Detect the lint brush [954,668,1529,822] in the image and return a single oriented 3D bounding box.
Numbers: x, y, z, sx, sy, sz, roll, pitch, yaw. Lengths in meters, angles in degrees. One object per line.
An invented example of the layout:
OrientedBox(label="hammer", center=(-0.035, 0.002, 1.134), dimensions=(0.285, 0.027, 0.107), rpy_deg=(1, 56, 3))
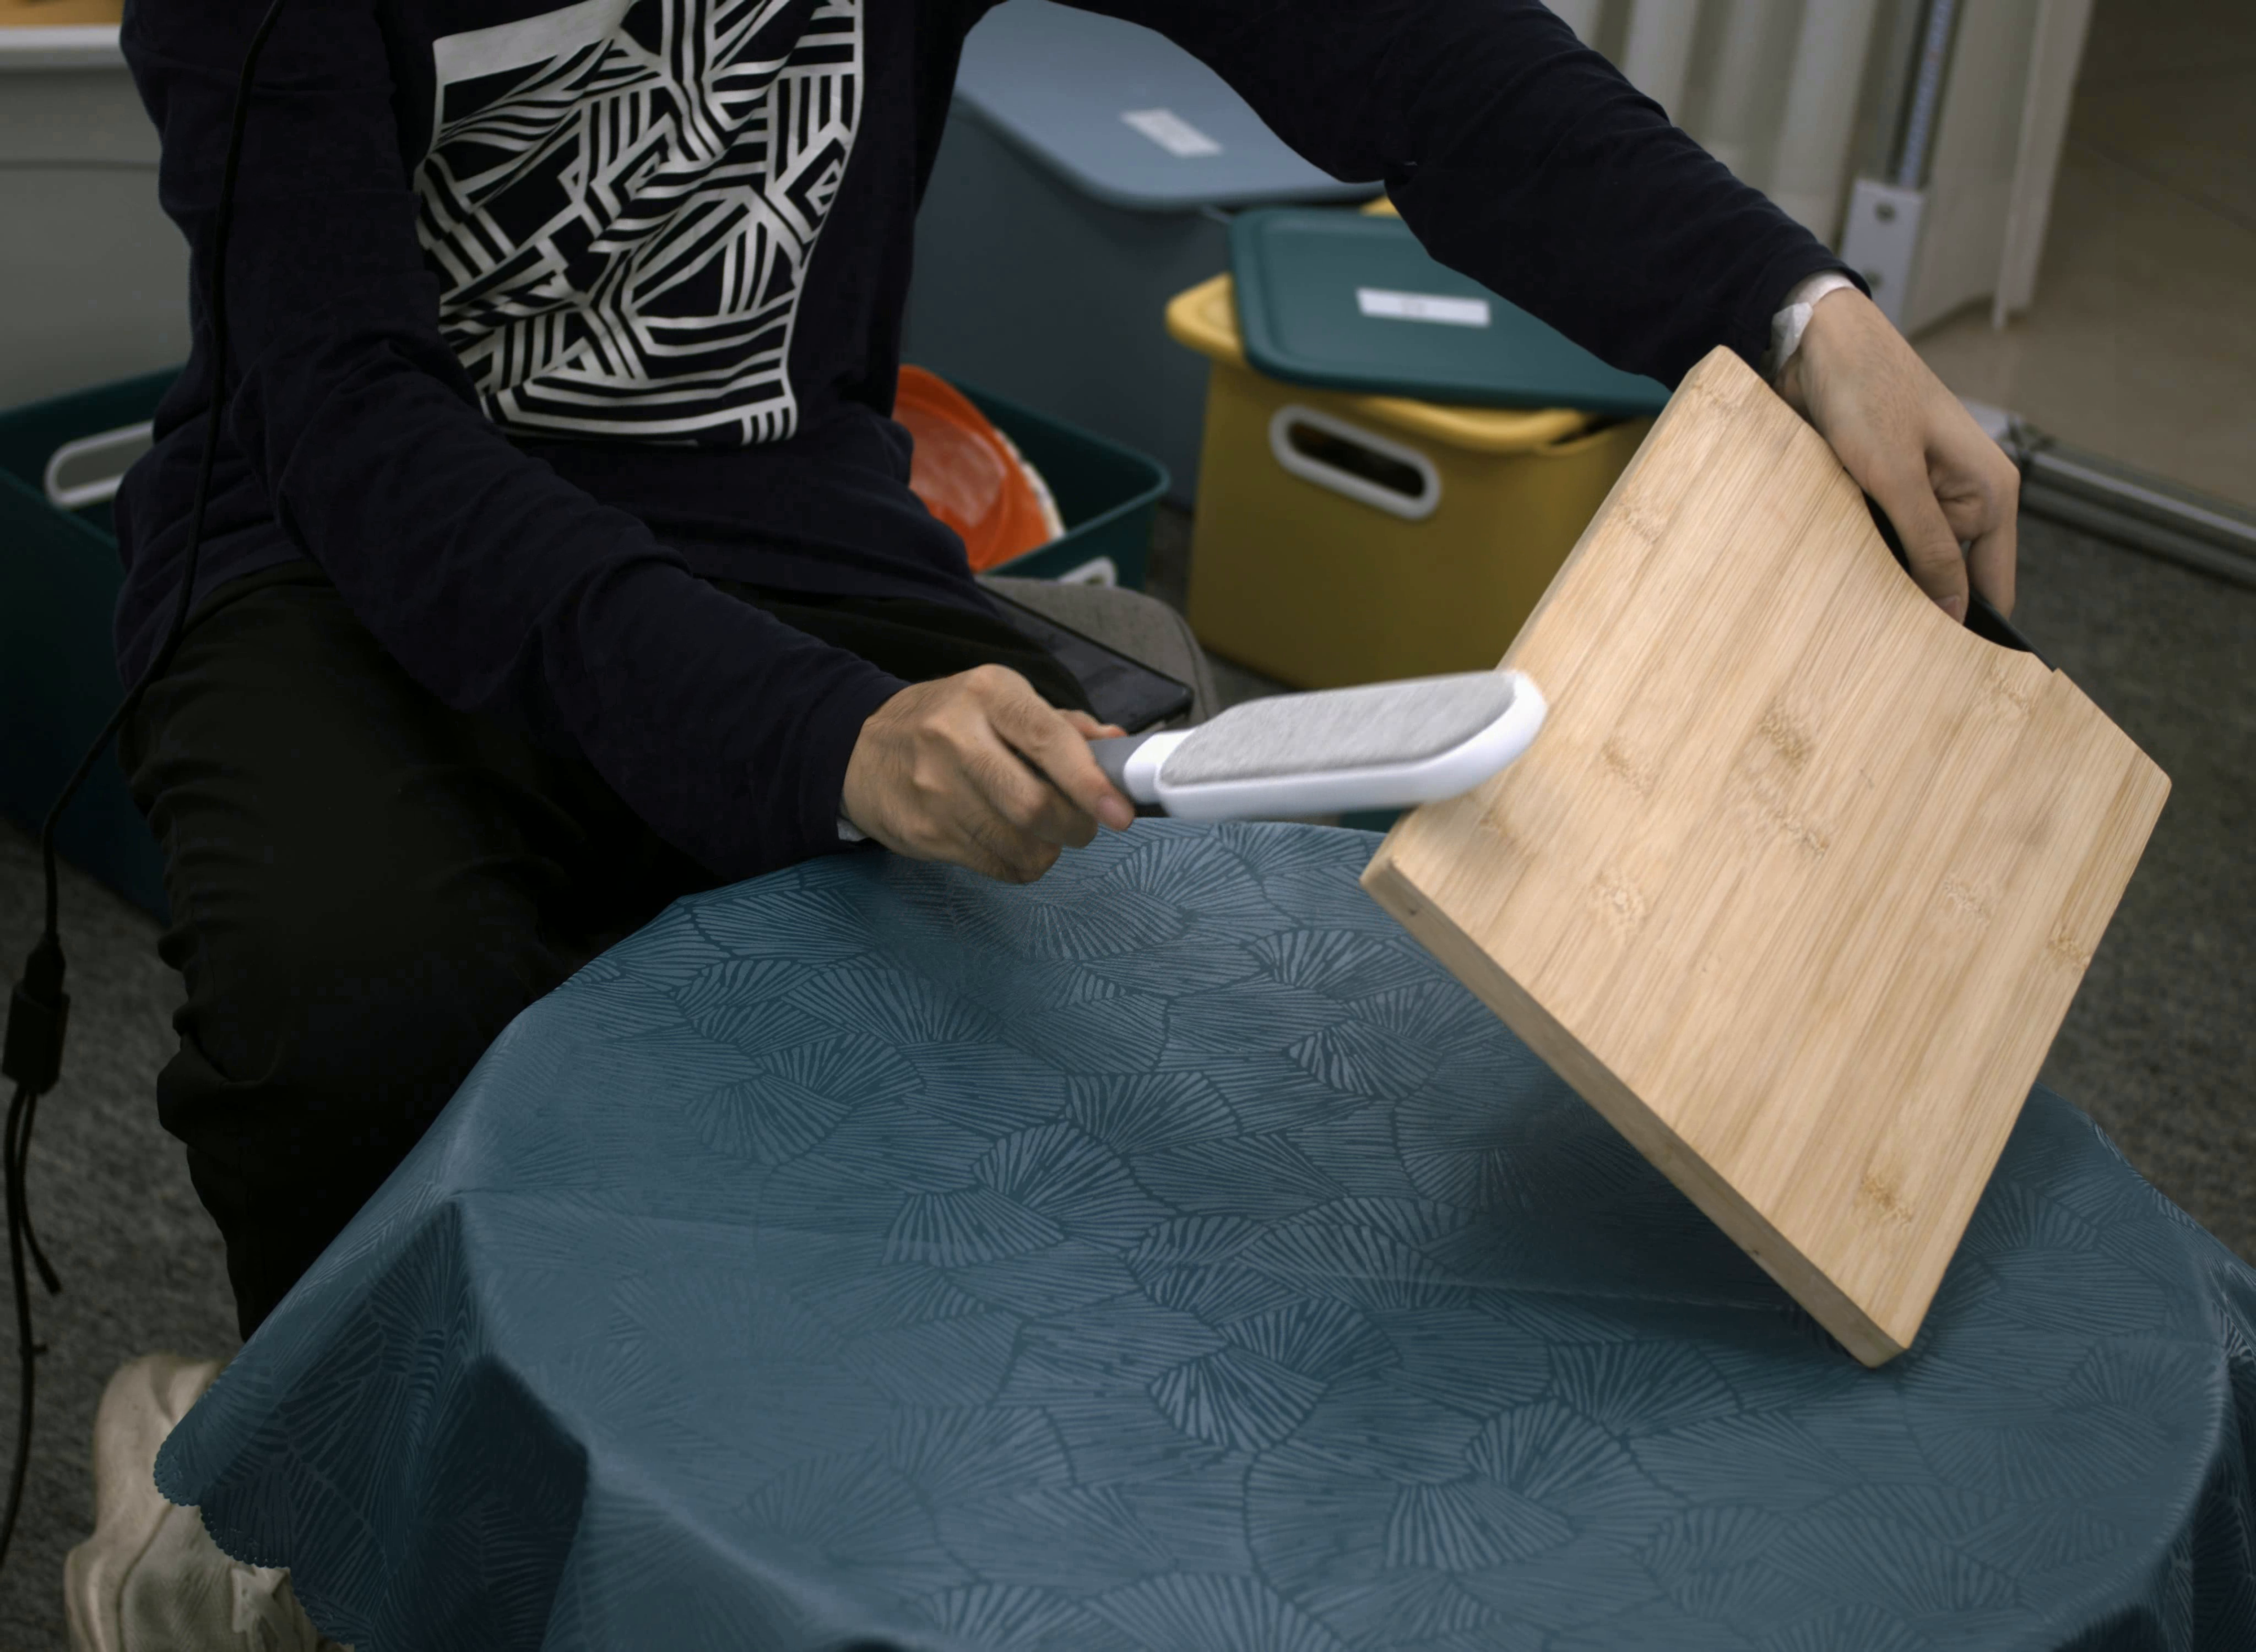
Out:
OrientedBox(label="lint brush", center=(0.032, -0.024, 1.840), dimensions=(0.060, 0.021, 0.310), rpy_deg=(-48, 24, -27))

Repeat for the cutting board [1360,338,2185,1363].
OrientedBox(label="cutting board", center=(0.234, -0.001, 1.862), dimensions=(0.250, 0.023, 0.349), rpy_deg=(43, 43, -7))
